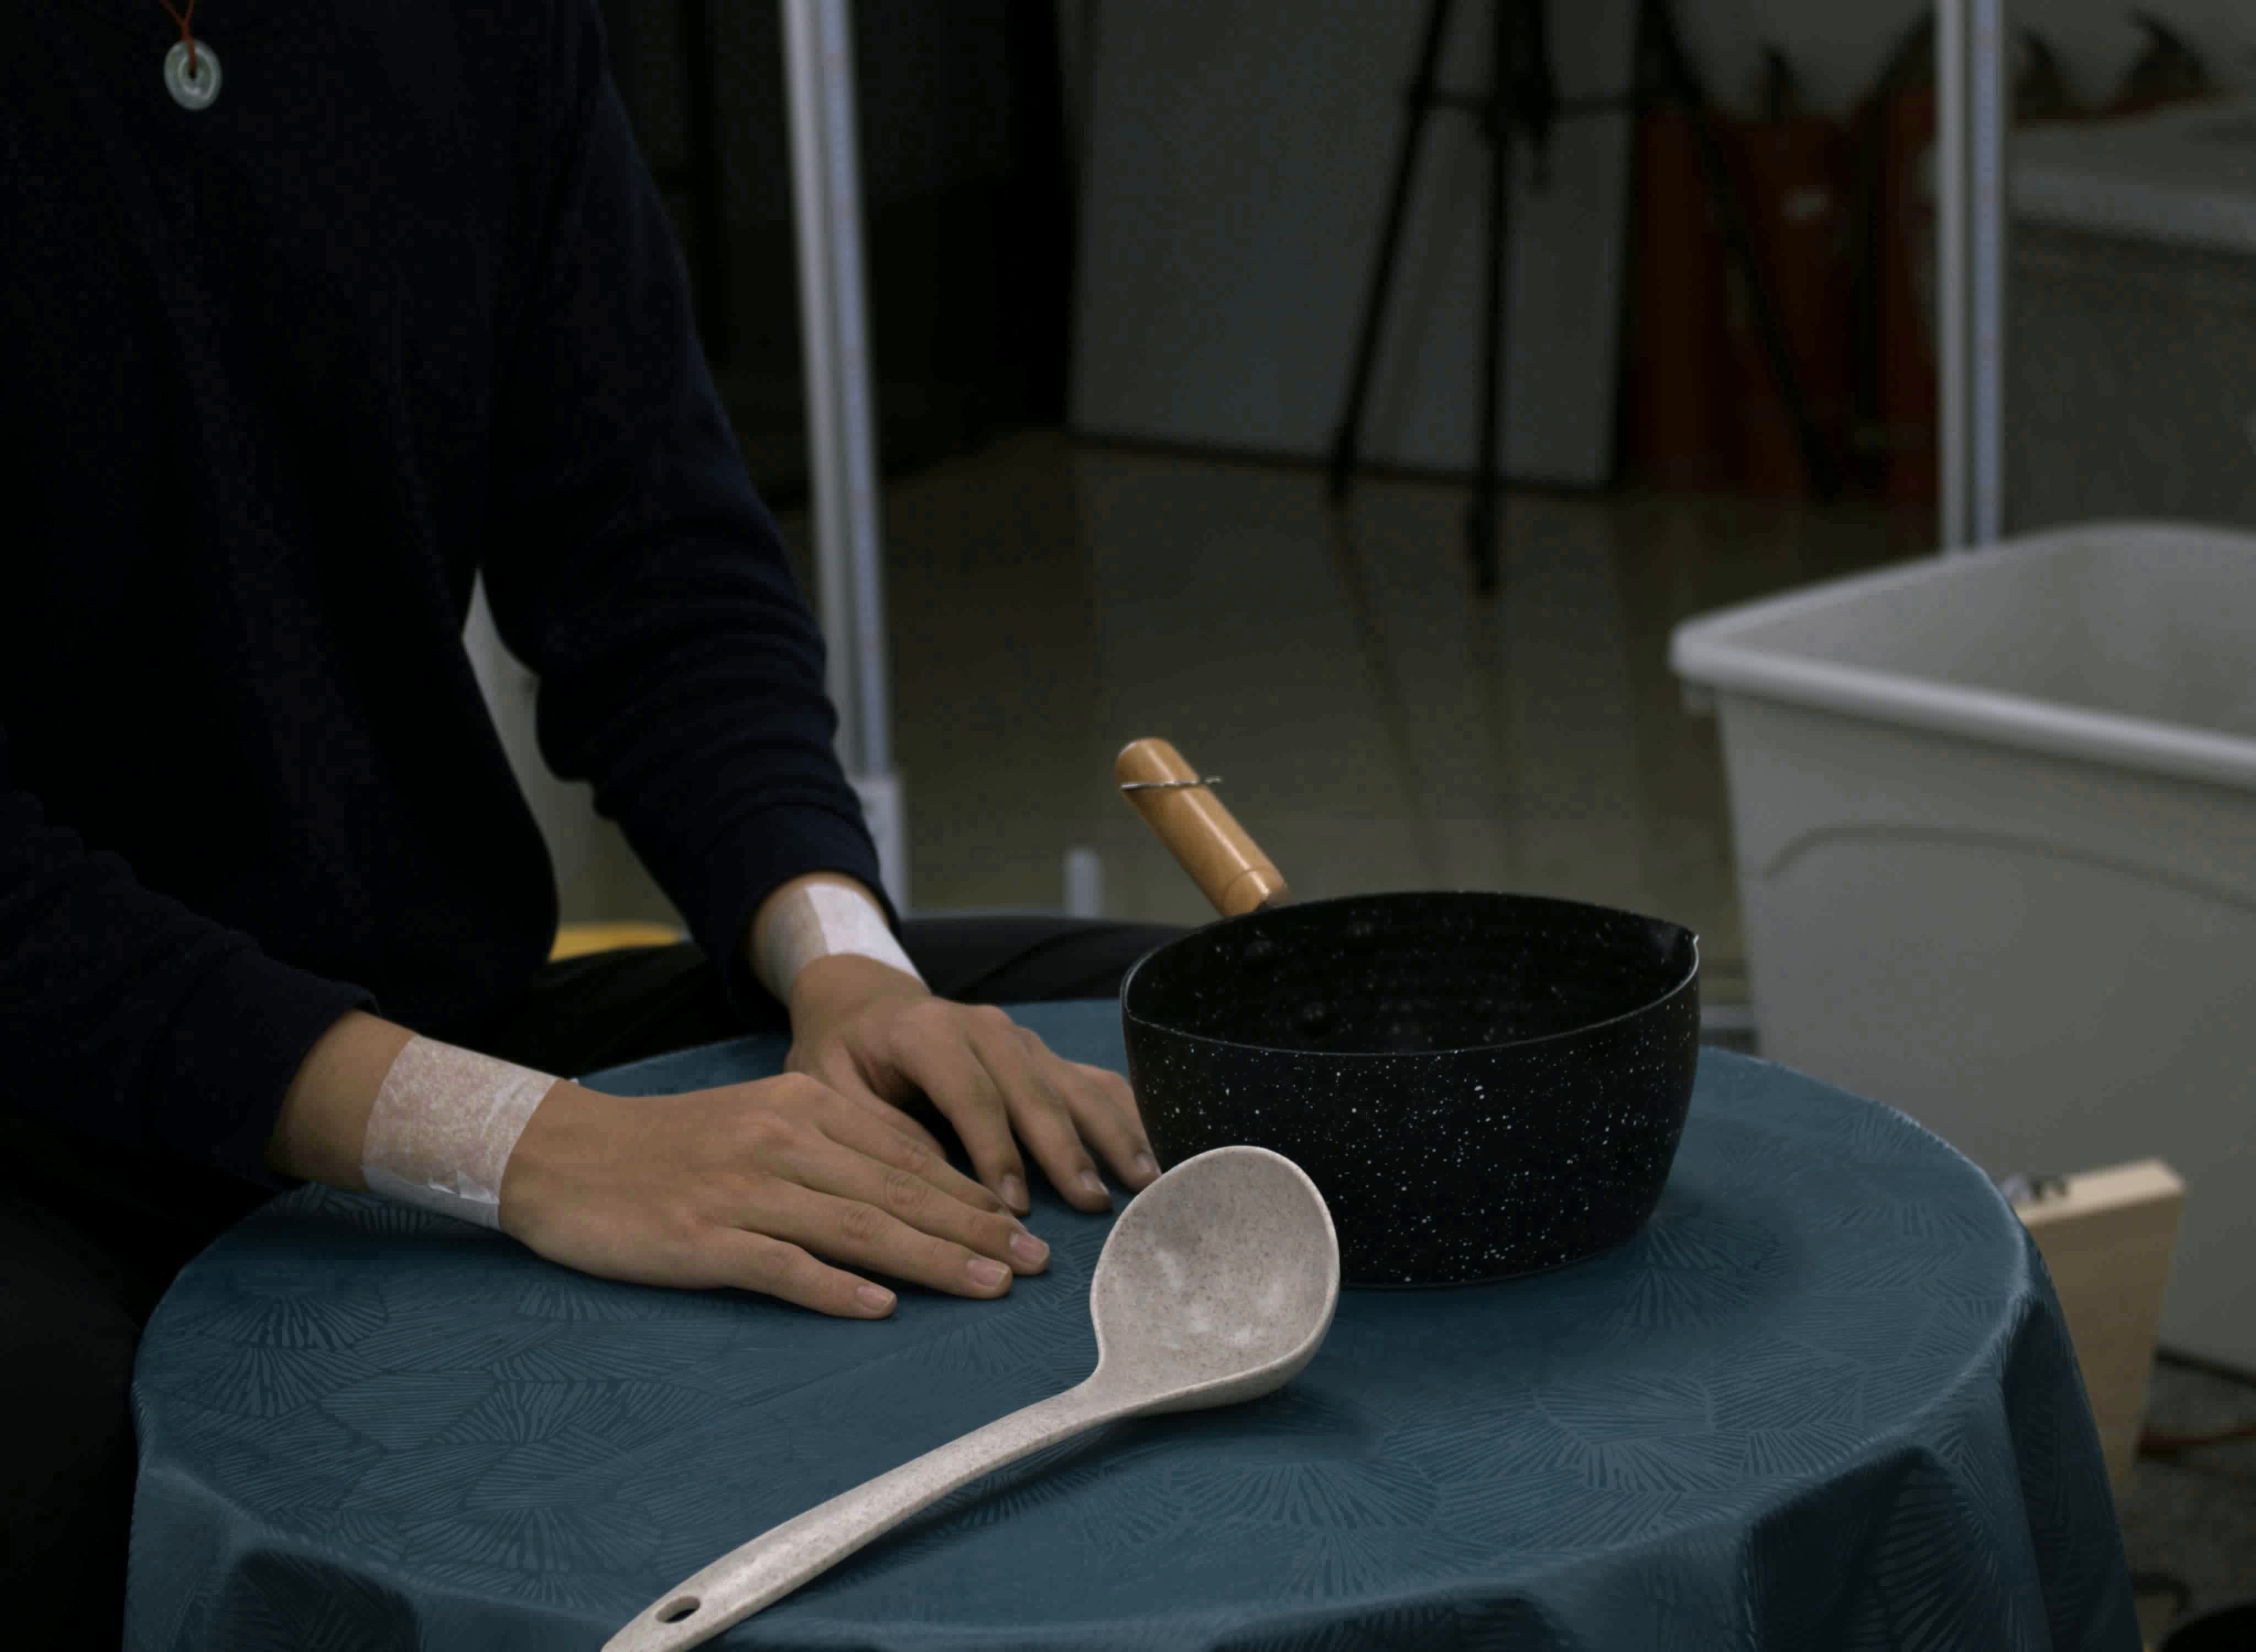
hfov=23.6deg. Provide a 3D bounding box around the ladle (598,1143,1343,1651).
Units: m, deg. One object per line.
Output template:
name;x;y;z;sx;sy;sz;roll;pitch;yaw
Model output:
ladle;-0.046;0.158;1.499;0.090;0.070;0.269;17;25;40

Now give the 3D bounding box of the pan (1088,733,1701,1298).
pan;0.063;0.057;1.786;0.203;0.109;0.346;-10;16;-18
